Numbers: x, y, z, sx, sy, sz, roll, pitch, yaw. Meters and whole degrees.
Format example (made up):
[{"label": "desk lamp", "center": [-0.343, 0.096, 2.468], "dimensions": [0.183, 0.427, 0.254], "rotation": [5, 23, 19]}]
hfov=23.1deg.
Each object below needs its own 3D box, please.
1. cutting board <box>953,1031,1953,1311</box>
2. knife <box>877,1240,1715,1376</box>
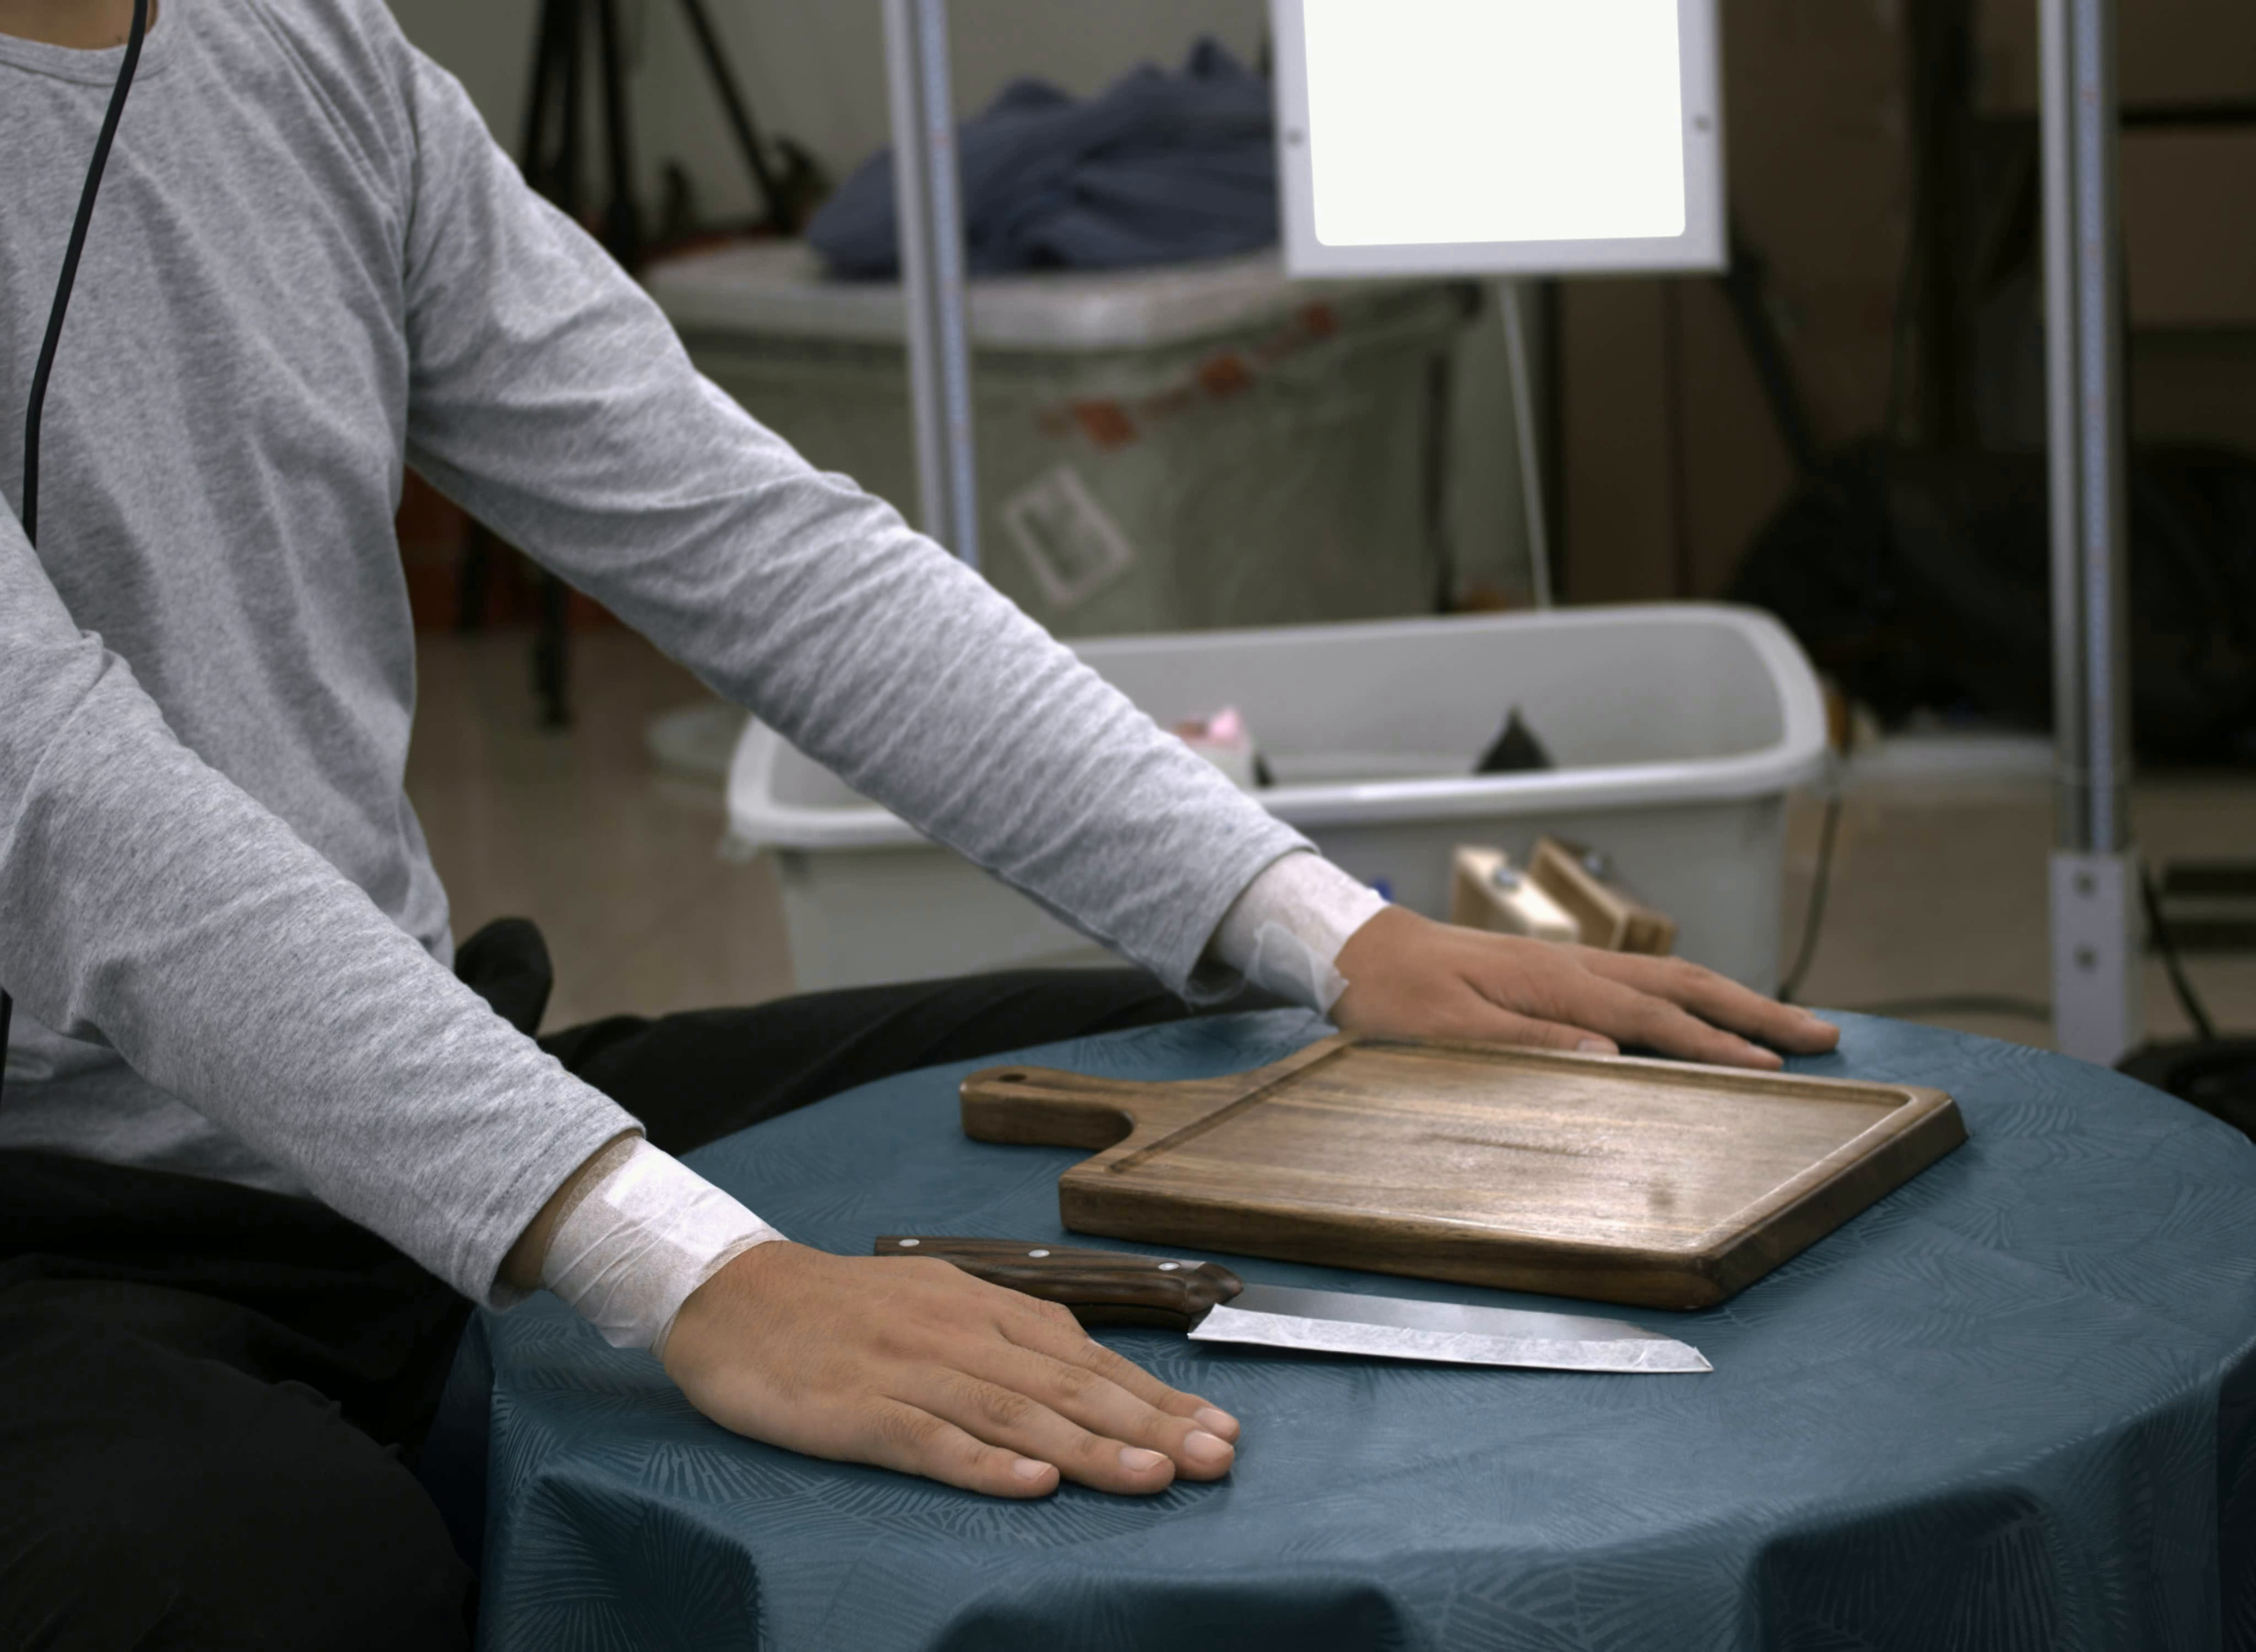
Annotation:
[{"label": "cutting board", "center": [0.089, 0.110, 1.896], "dimensions": [0.359, 0.023, 0.196], "rotation": [5, 16, 35]}, {"label": "knife", "center": [0.049, 0.155, 1.740], "dimensions": [0.294, 0.020, 0.049], "rotation": [4, 22, 25]}]
